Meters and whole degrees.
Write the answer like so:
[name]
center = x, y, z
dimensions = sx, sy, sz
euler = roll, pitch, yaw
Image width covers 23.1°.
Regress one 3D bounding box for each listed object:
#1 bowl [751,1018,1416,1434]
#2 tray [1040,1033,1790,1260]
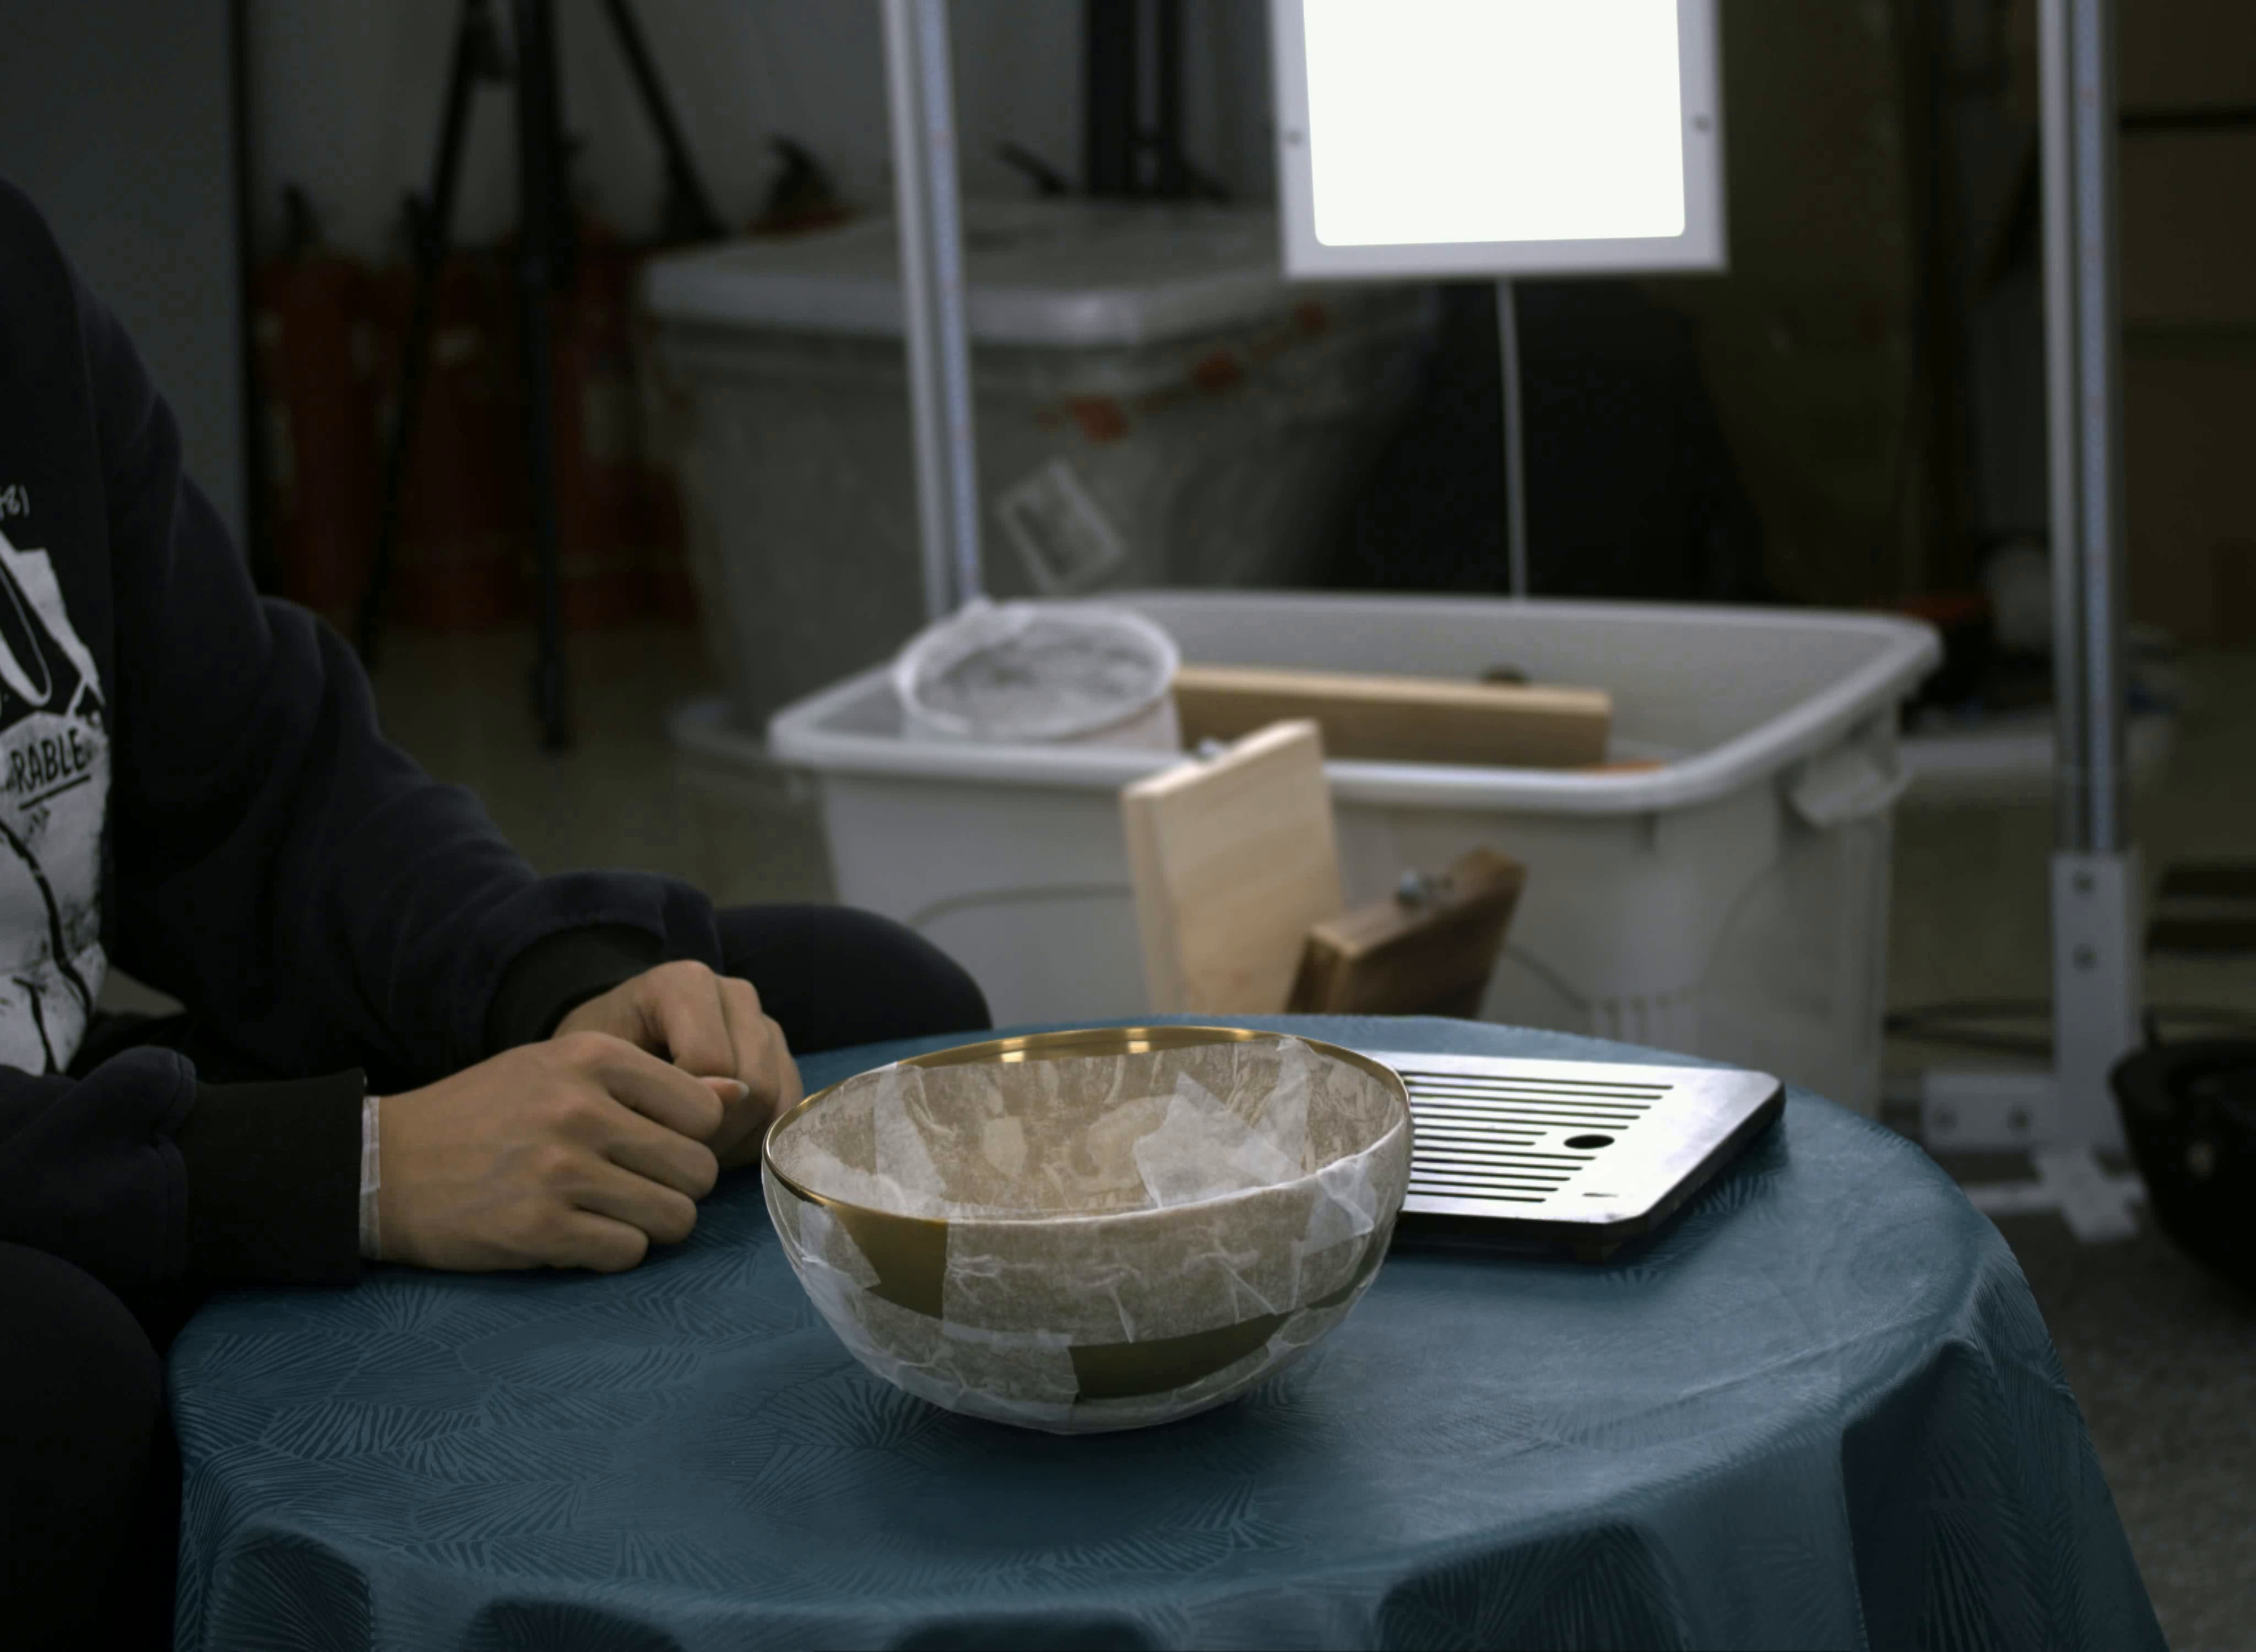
[bowl]
center = -0.009, 0.130, 1.692
dimensions = 0.214, 0.095, 0.214
euler = -6, 14, 0
[tray]
center = 0.063, 0.109, 1.909
dimensions = 0.311, 0.019, 0.166
euler = 2, 15, 27
